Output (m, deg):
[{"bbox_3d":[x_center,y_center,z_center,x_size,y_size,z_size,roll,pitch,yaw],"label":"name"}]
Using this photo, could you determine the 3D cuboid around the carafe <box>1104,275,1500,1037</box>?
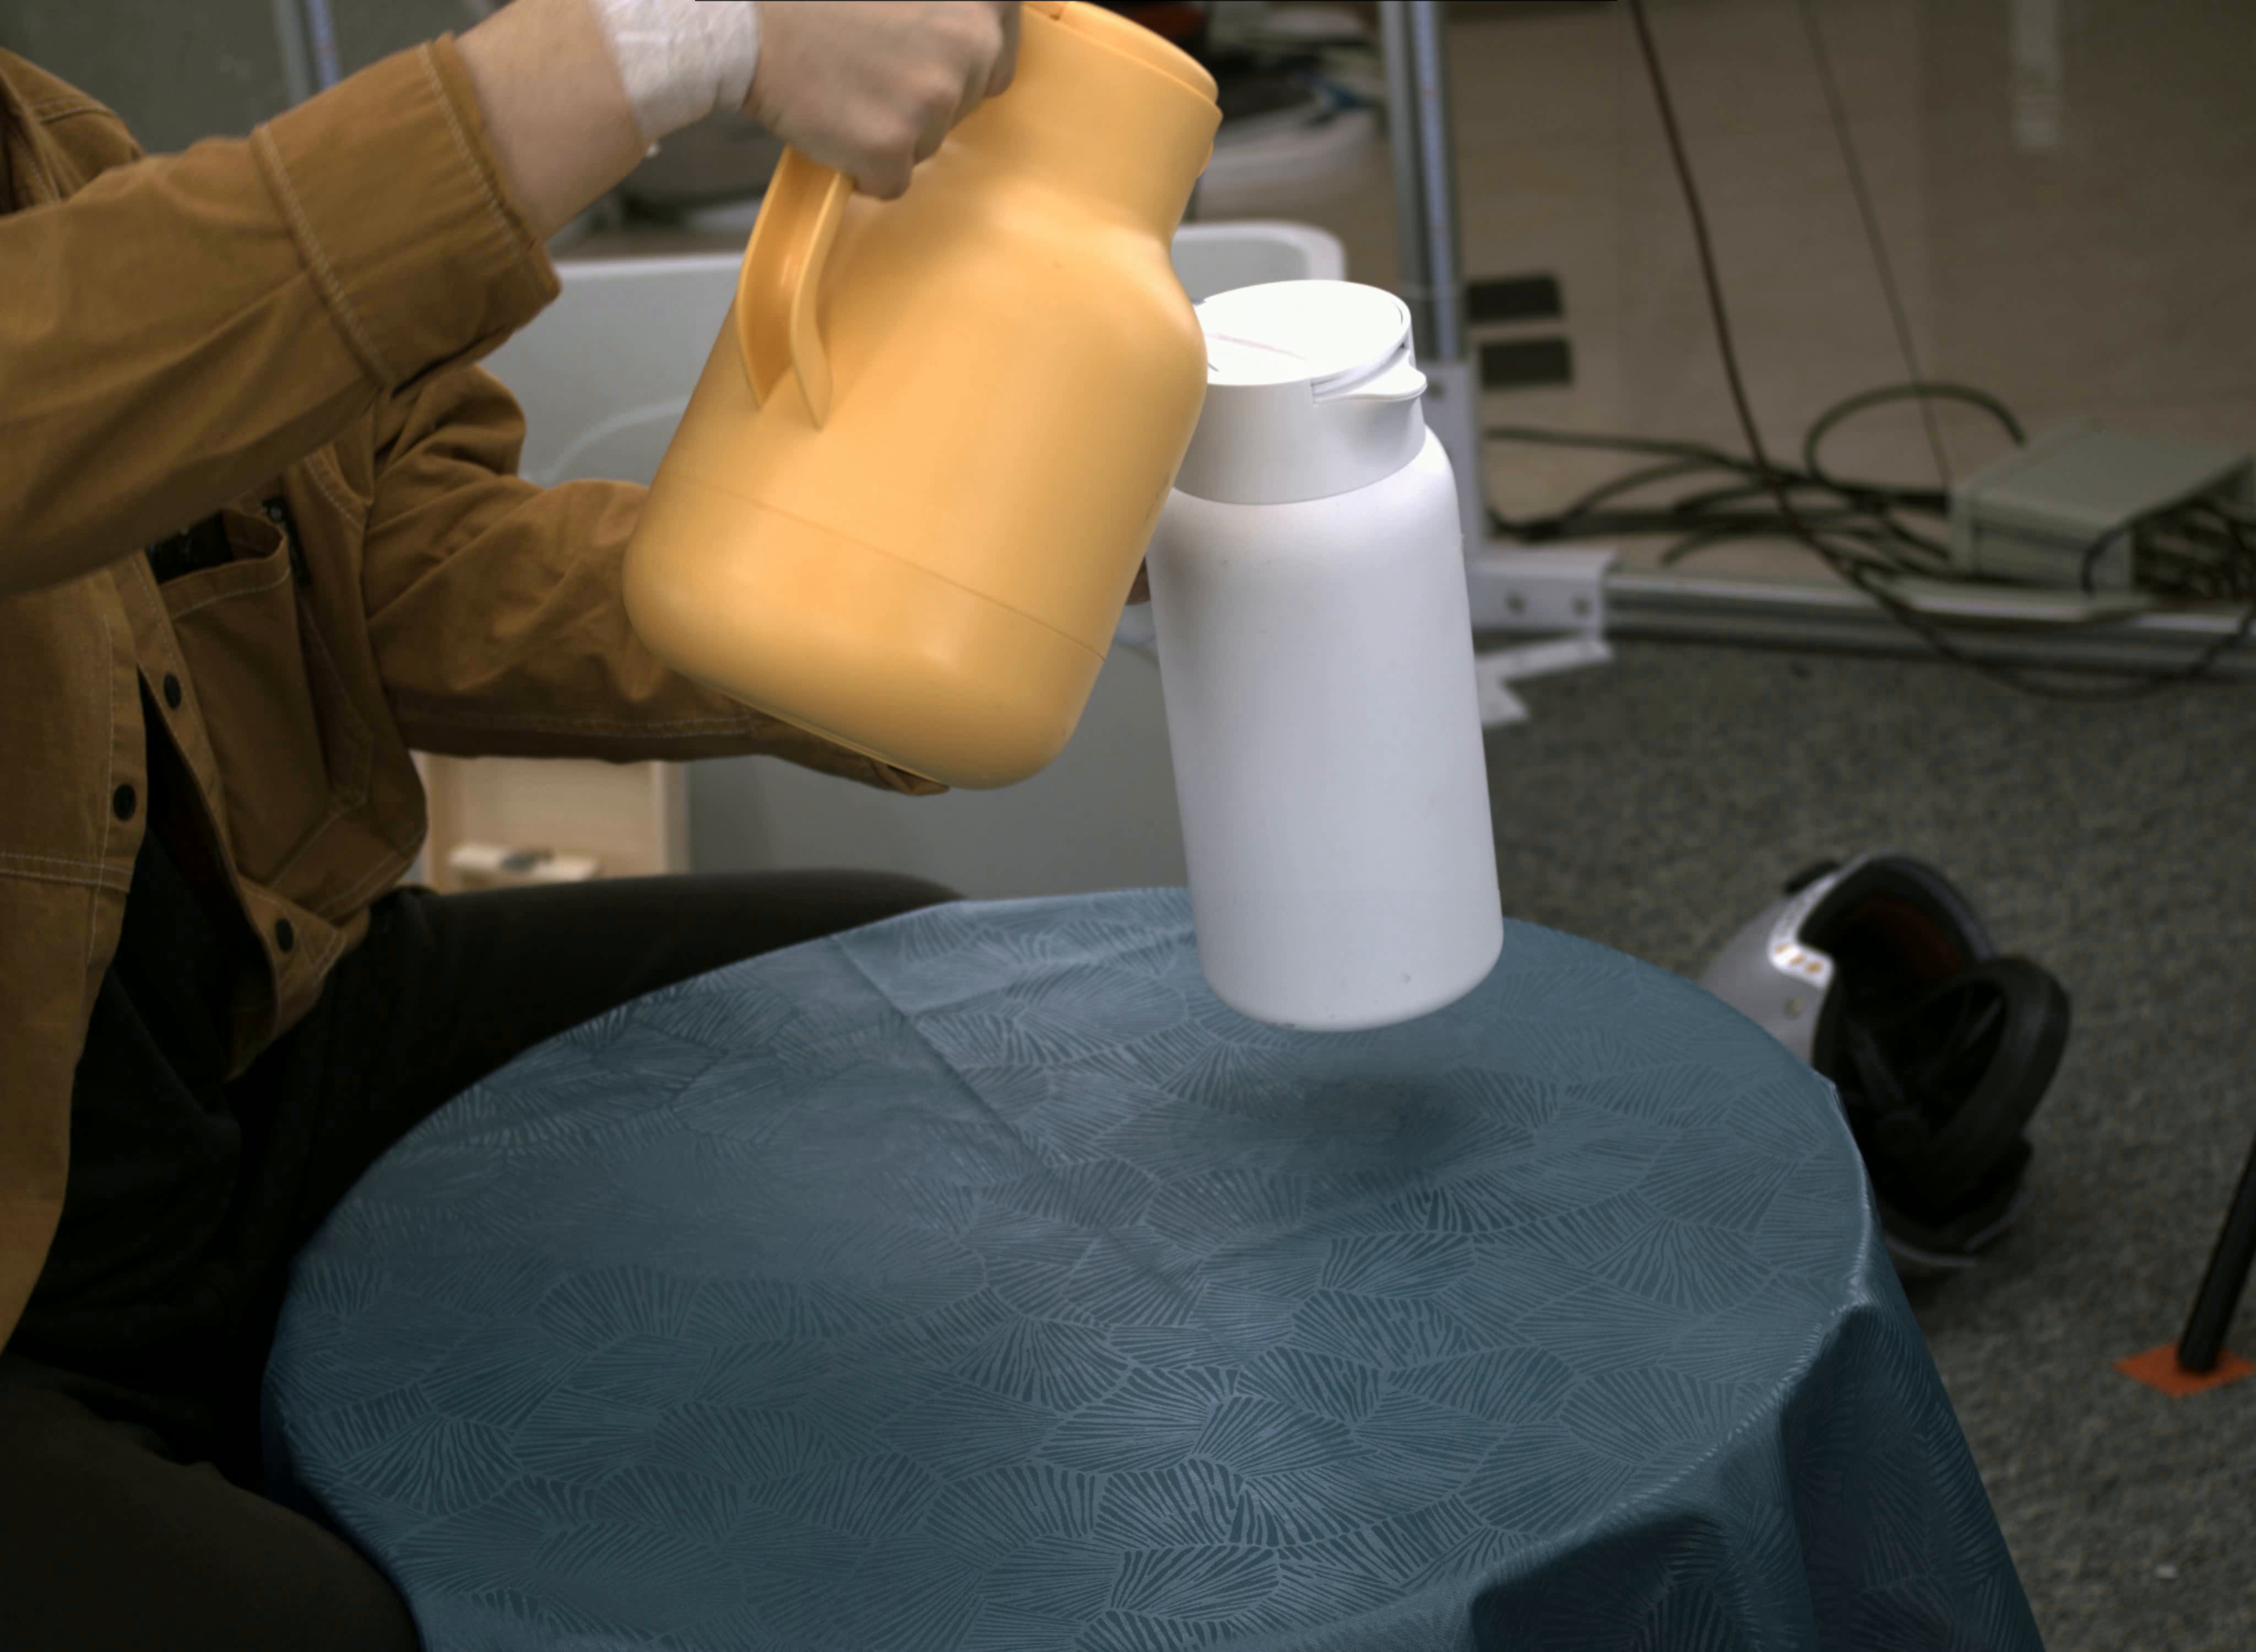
[{"bbox_3d":[0.056,-0.065,2.115,0.171,0.273,0.122,19,40,40],"label":"carafe"}]

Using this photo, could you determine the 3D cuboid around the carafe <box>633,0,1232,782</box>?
[{"bbox_3d":[-0.063,-0.161,1.885,0.162,0.260,0.204,18,-6,33],"label":"carafe"}]
